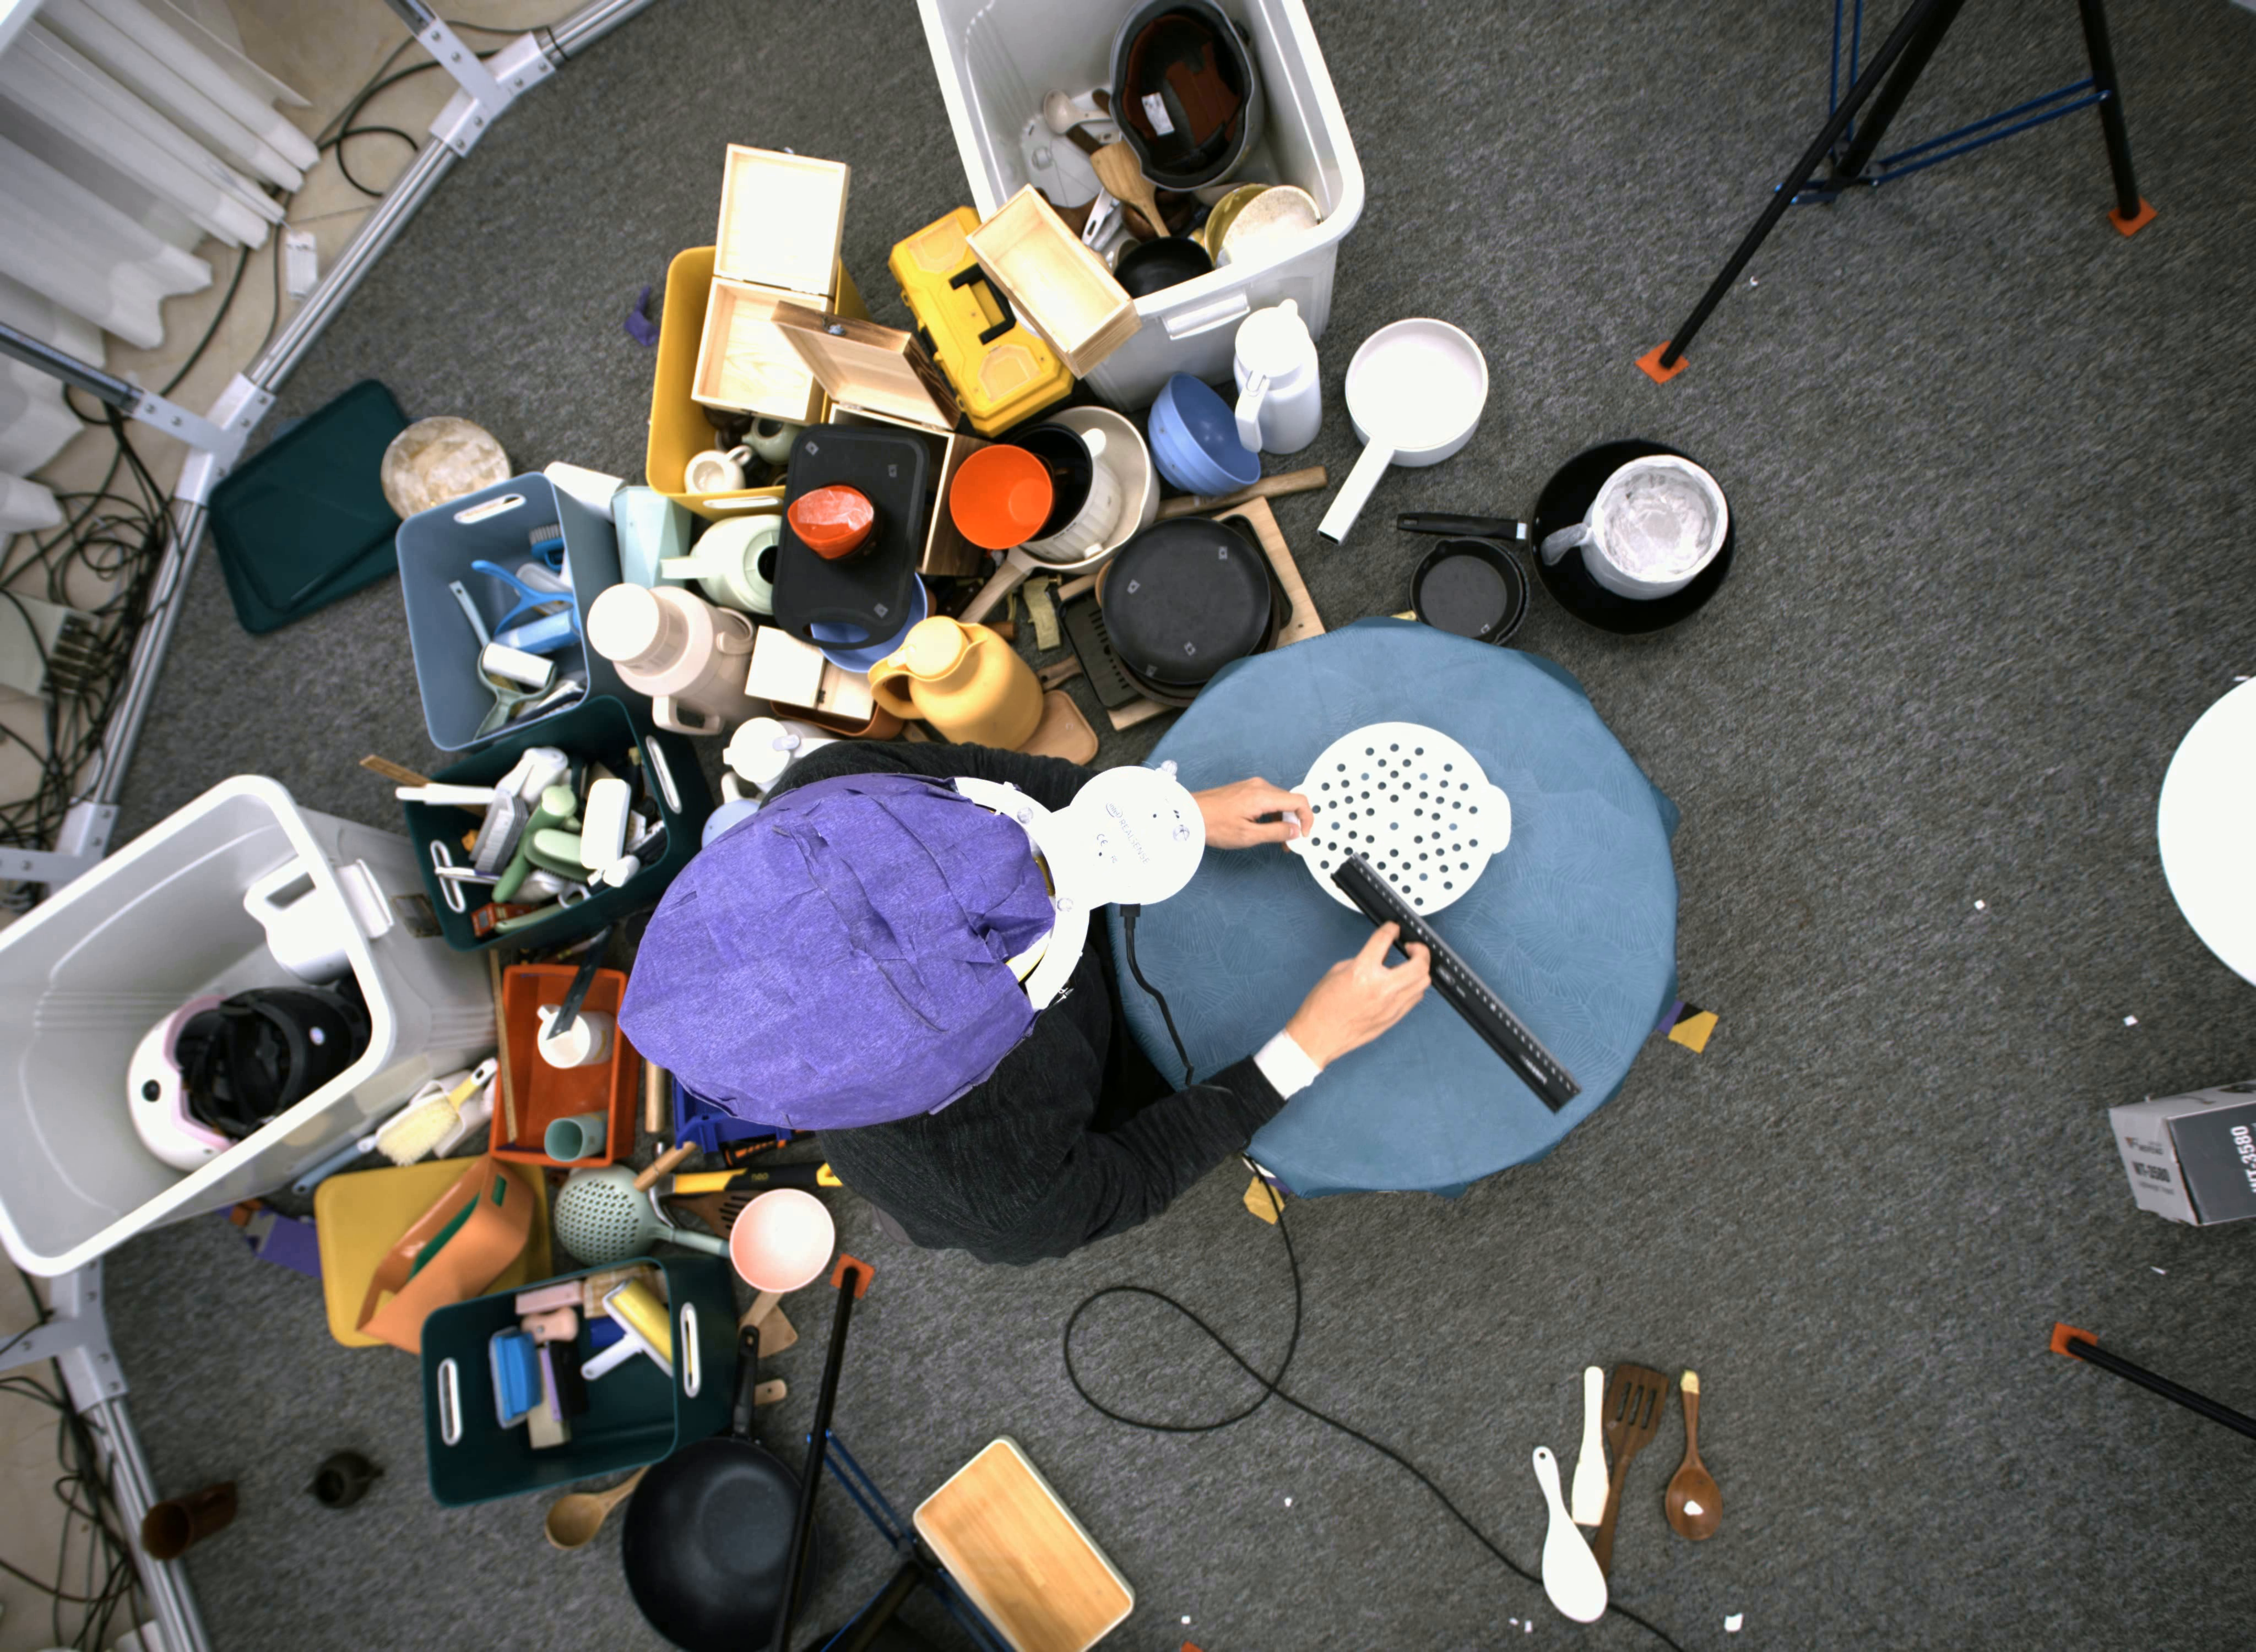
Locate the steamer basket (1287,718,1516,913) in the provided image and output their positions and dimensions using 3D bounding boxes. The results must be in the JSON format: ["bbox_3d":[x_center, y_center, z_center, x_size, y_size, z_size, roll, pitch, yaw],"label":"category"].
[{"bbox_3d":[0.281,-0.010,1.428,0.231,0.069,0.201,-1,86,9],"label":"steamer basket"}]

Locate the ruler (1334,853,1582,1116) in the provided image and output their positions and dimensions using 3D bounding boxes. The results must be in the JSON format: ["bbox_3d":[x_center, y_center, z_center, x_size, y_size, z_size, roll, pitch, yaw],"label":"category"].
[{"bbox_3d":[0.314,0.148,1.326,0.040,0.017,0.310,-47,74,19],"label":"ruler"}]
